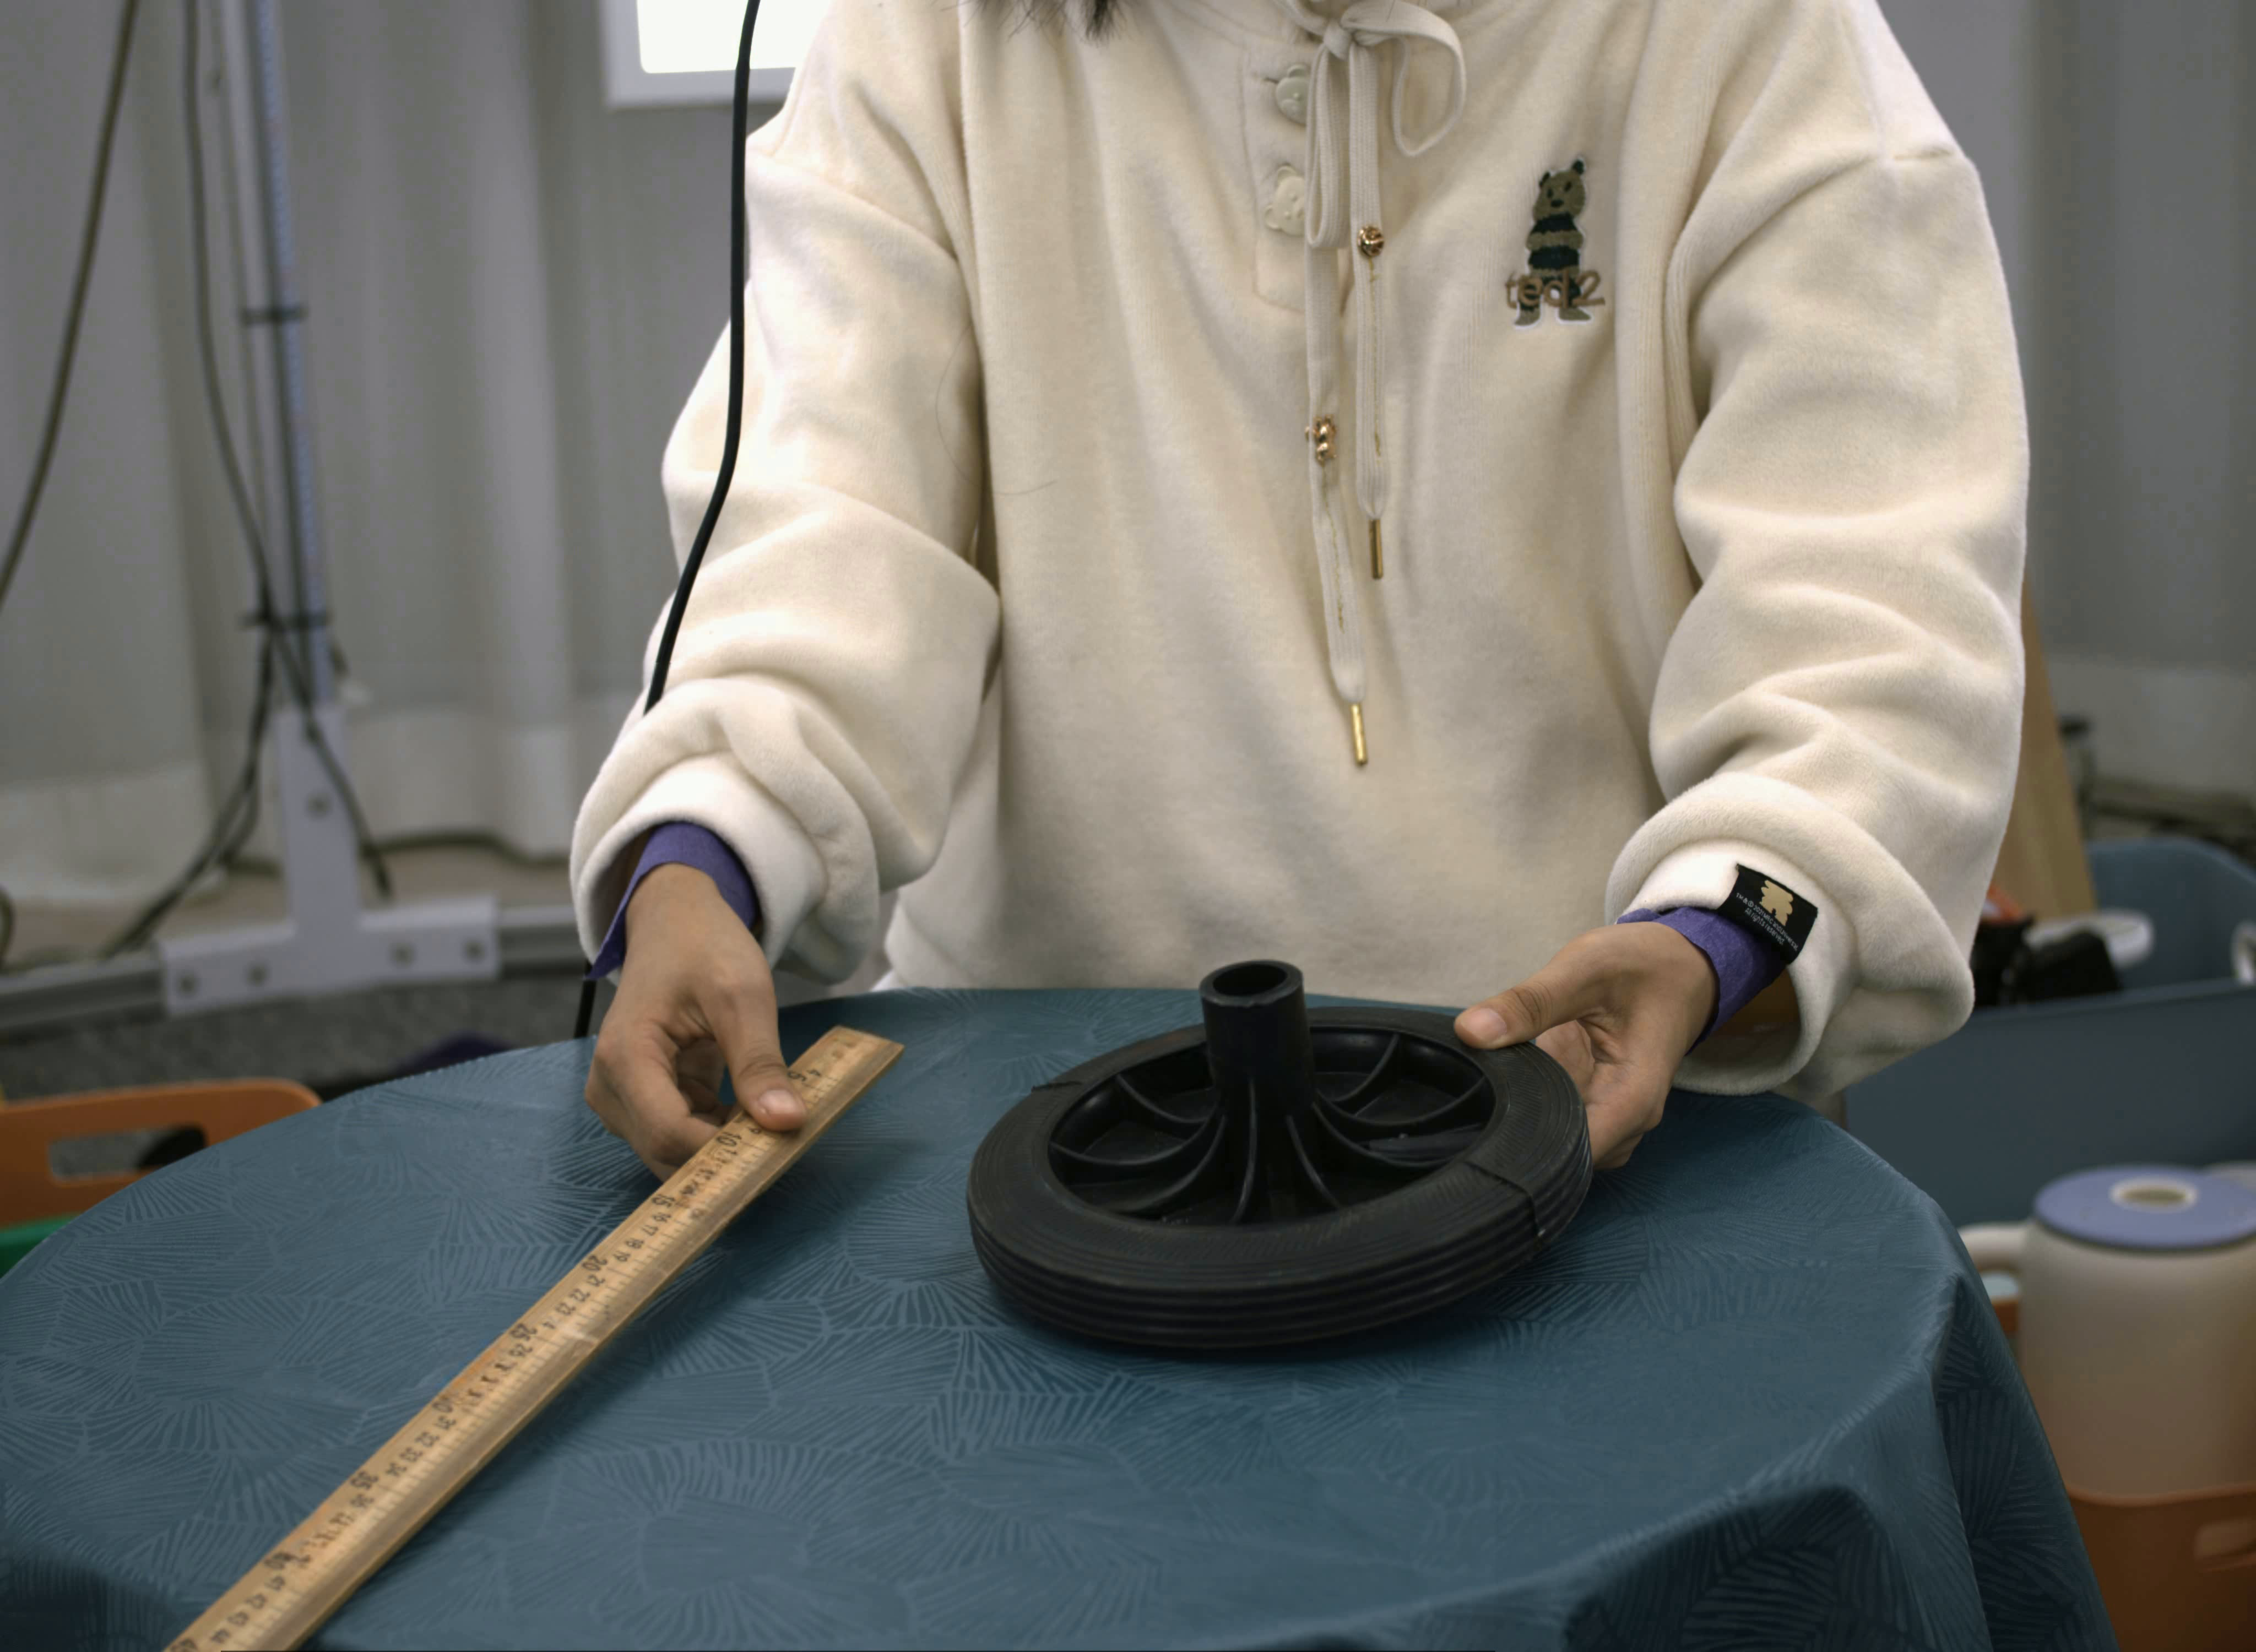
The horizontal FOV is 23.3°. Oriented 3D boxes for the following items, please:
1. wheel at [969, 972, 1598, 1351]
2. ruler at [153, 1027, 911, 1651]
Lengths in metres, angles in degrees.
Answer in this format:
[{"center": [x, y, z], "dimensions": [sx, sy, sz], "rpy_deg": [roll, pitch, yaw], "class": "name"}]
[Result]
[{"center": [0.043, 0.086, 1.631], "dimensions": [0.189, 0.078, 0.189], "rpy_deg": [-13, 22, -12], "class": "wheel"}, {"center": [-0.165, 0.148, 1.558], "dimensions": [0.027, 0.006, 0.503], "rpy_deg": [18, 24, 14], "class": "ruler"}]
